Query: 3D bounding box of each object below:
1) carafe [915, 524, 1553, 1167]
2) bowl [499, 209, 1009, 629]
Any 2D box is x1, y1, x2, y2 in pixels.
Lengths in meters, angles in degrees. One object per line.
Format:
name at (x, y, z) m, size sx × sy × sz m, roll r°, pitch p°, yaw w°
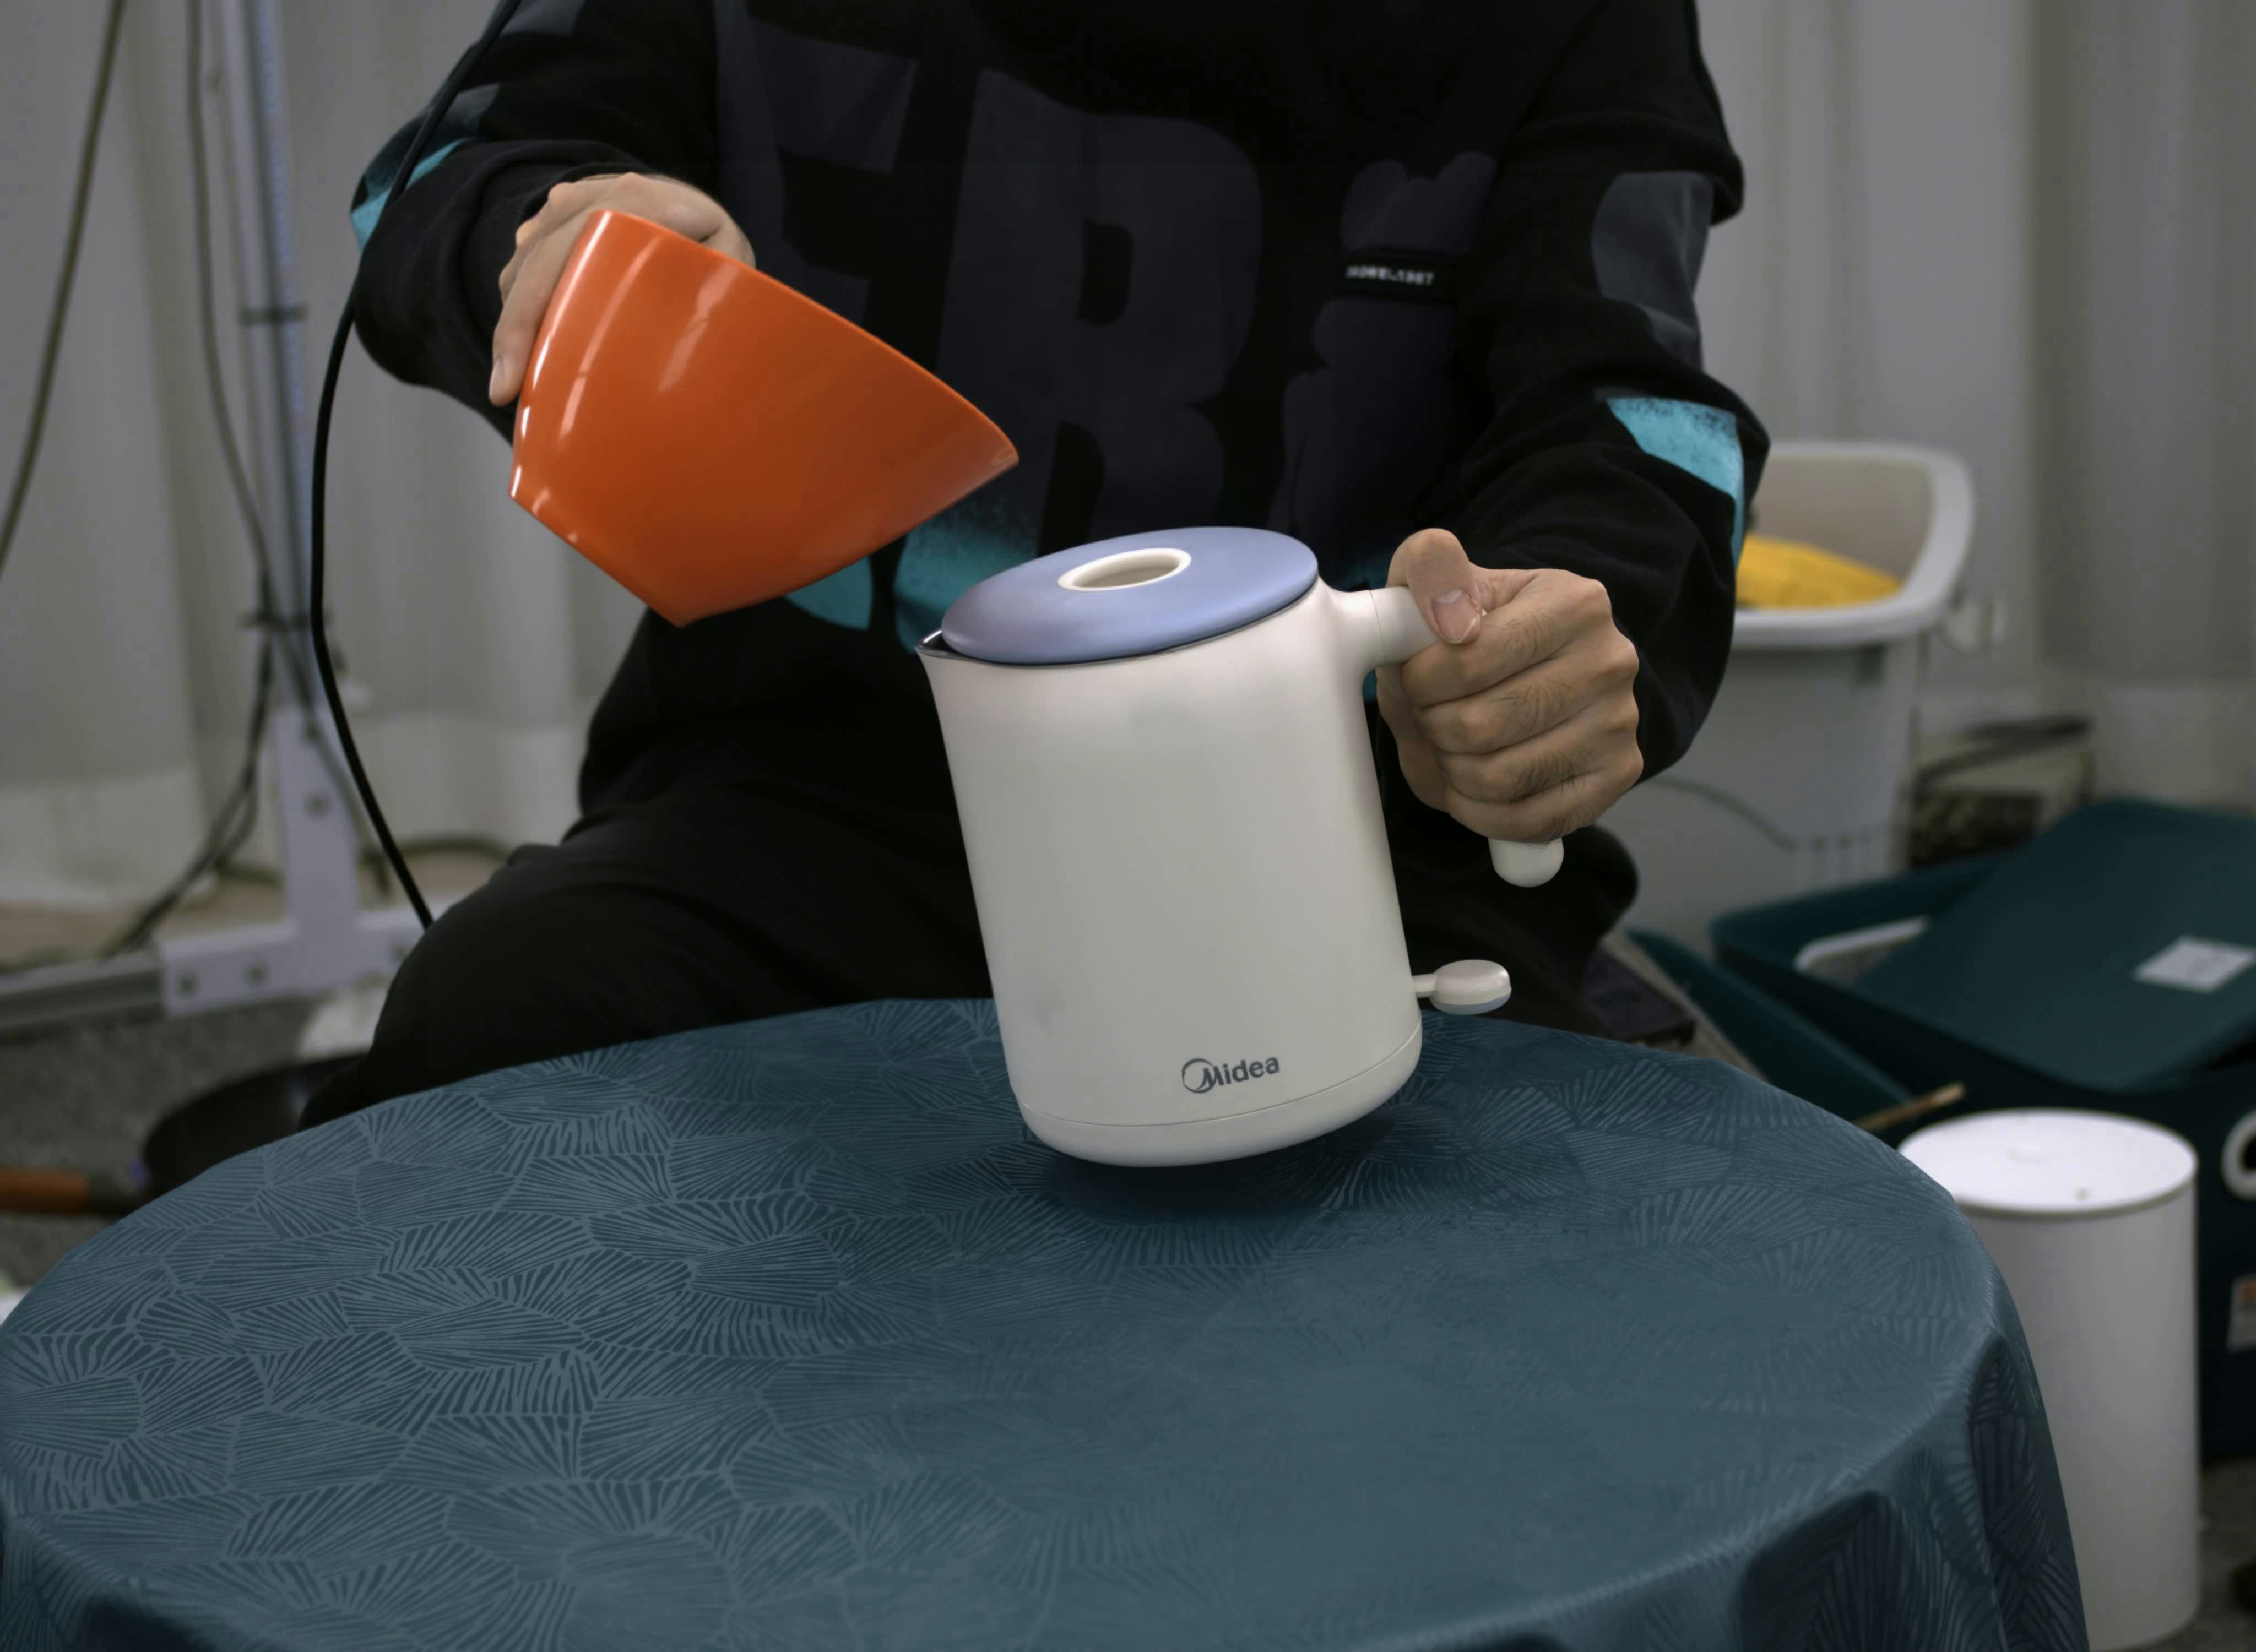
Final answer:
carafe at (0.038, 0.001, 1.712) m, size 0.190 × 0.181 × 0.133 m, roll -9°, pitch 17°, yaw -5°
bowl at (-0.124, -0.114, 1.644) m, size 0.148 × 0.105 × 0.148 m, roll 38°, pitch -1°, yaw 0°
